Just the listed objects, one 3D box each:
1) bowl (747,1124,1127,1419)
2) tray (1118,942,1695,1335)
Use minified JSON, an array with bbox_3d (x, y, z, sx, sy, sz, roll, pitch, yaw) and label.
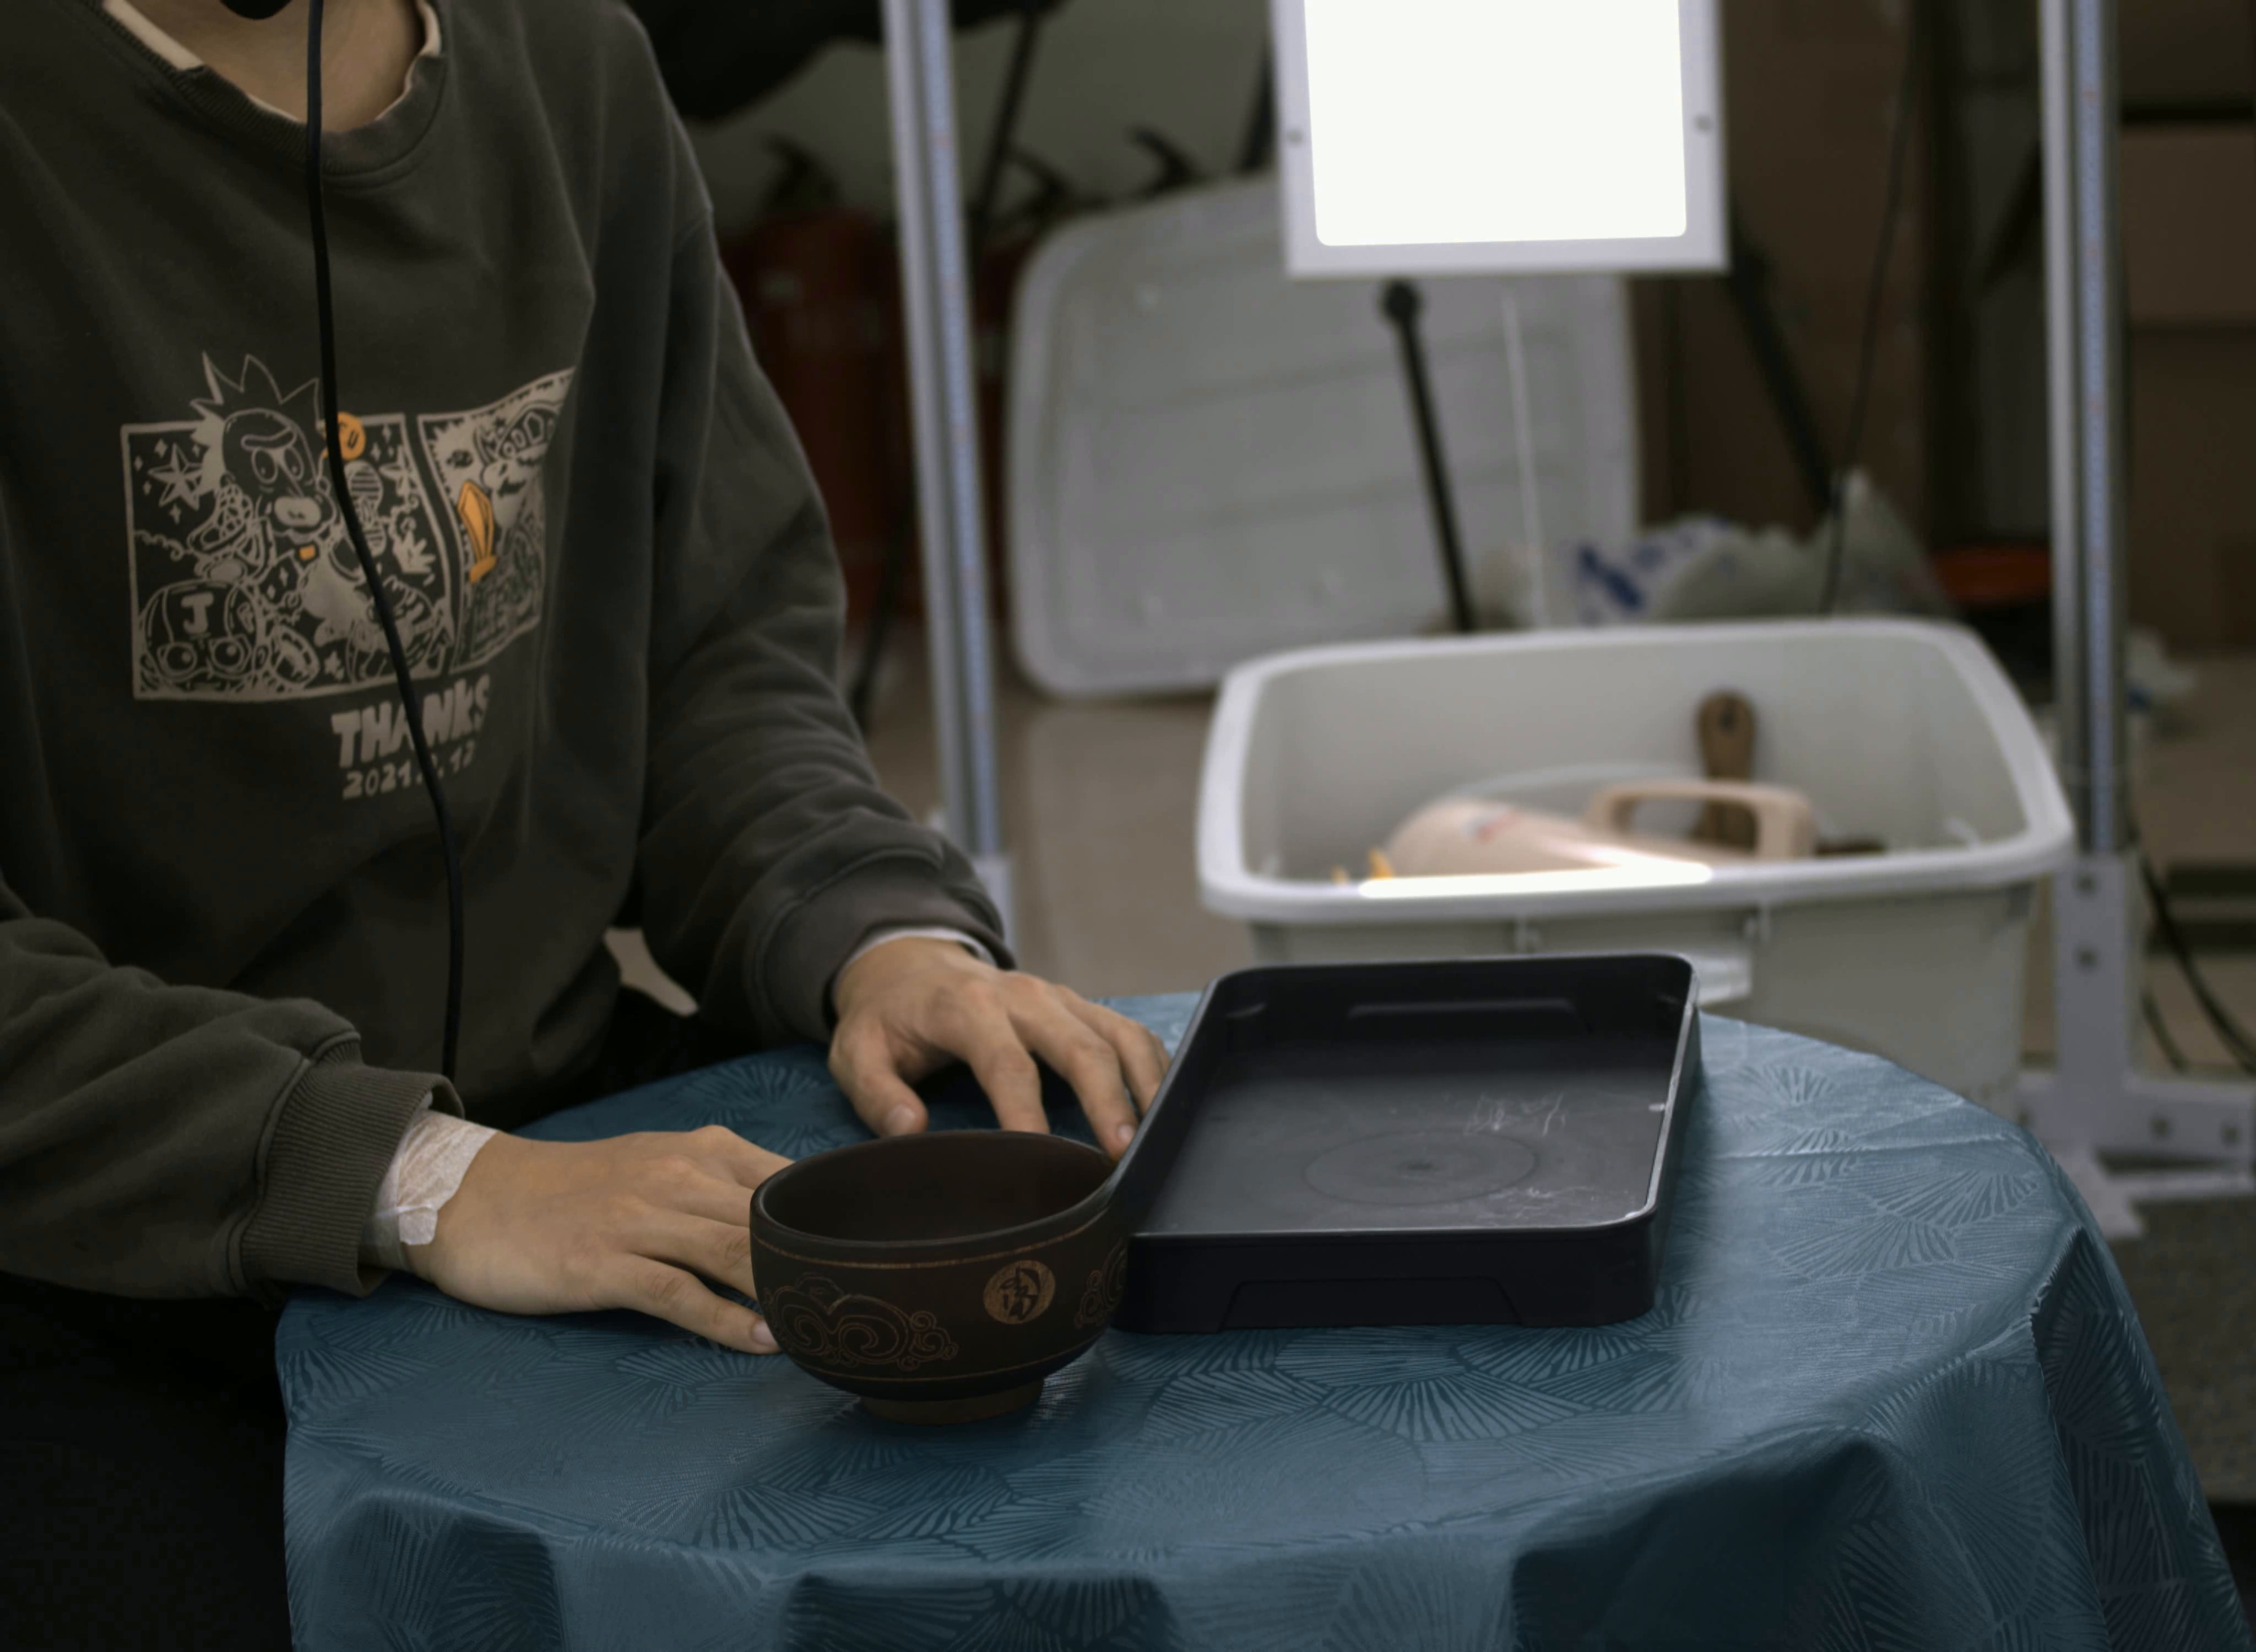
[{"bbox_3d":[-0.057,0.142,1.705,0.118,0.070,0.118,-6,13,0],"label":"bowl"},{"bbox_3d":[0.101,0.103,1.883,0.185,0.037,0.315,-4,14,9],"label":"tray"}]
